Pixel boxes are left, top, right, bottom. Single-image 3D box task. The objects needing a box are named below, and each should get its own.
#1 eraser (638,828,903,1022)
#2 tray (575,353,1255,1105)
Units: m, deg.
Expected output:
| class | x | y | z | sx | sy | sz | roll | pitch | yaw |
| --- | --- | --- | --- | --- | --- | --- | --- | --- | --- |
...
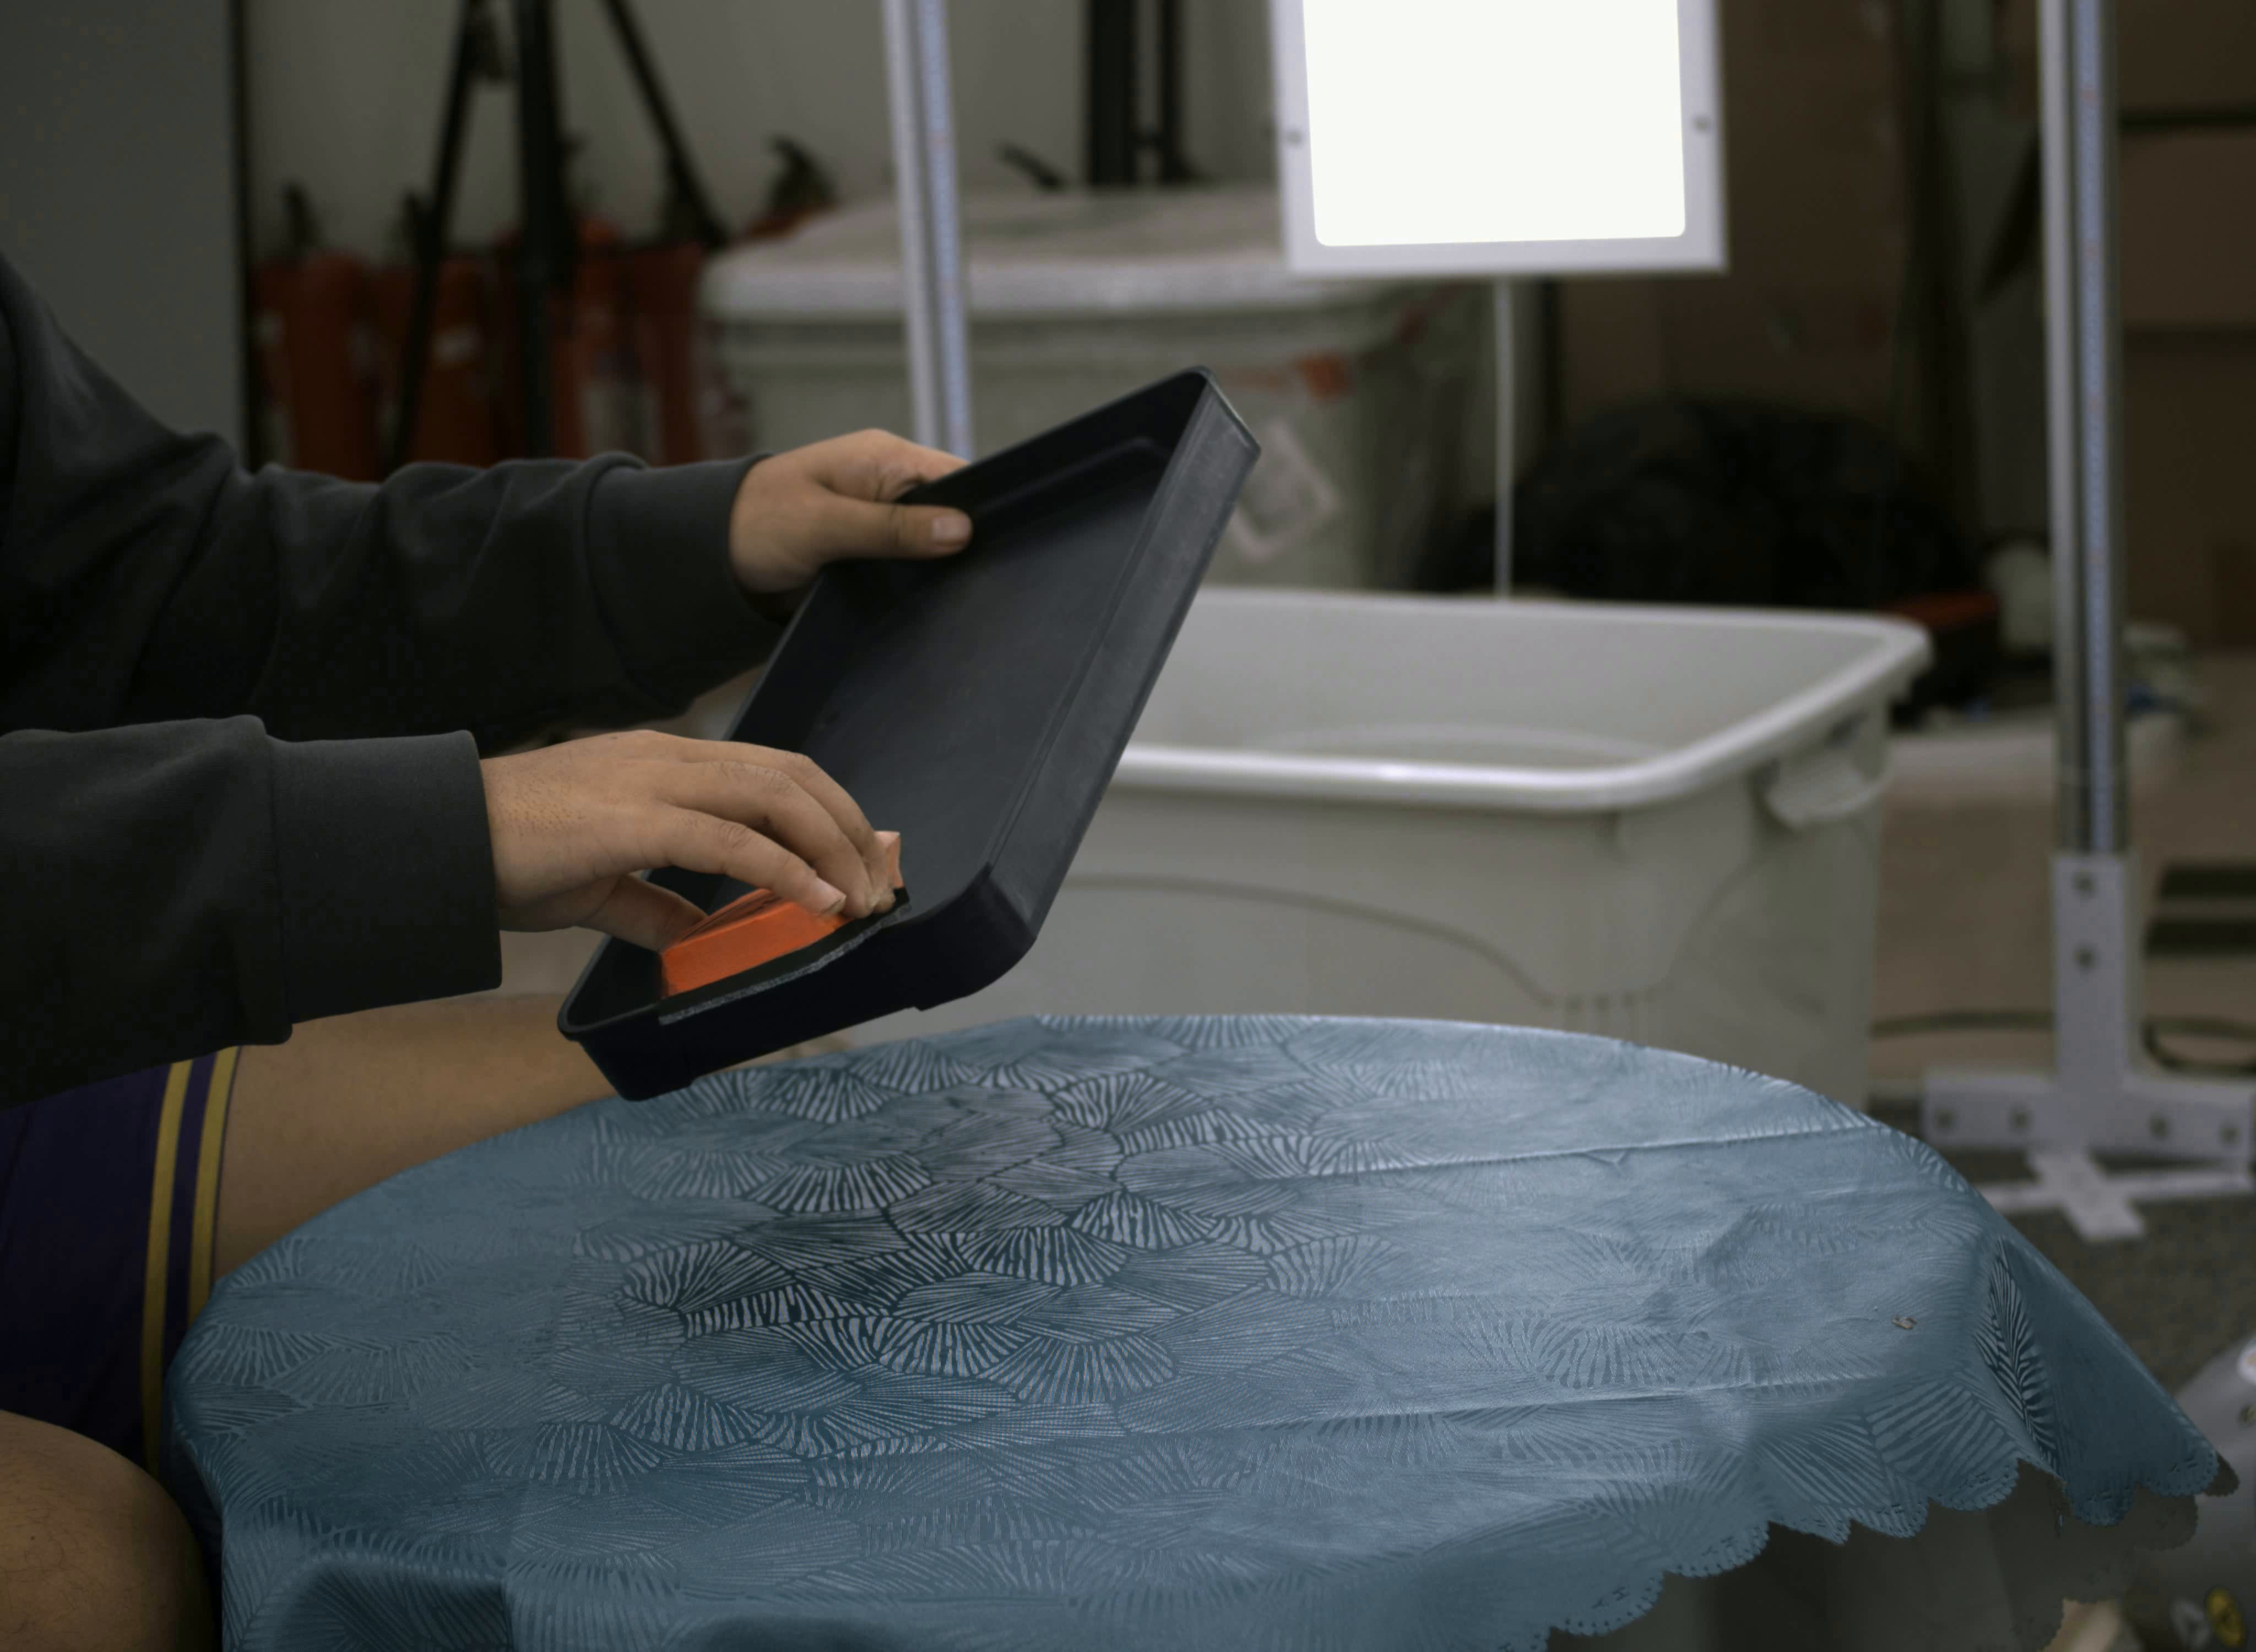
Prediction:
| class | x | y | z | sx | sy | sz | roll | pitch | yaw |
| --- | --- | --- | --- | --- | --- | --- | --- | --- | --- |
| eraser | -0.113 | 0.031 | 1.757 | 0.060 | 0.023 | 0.106 | -29 | 3 | 20 |
| tray | -0.068 | -0.037 | 1.911 | 0.188 | 0.037 | 0.314 | -23 | 28 | 34 |
